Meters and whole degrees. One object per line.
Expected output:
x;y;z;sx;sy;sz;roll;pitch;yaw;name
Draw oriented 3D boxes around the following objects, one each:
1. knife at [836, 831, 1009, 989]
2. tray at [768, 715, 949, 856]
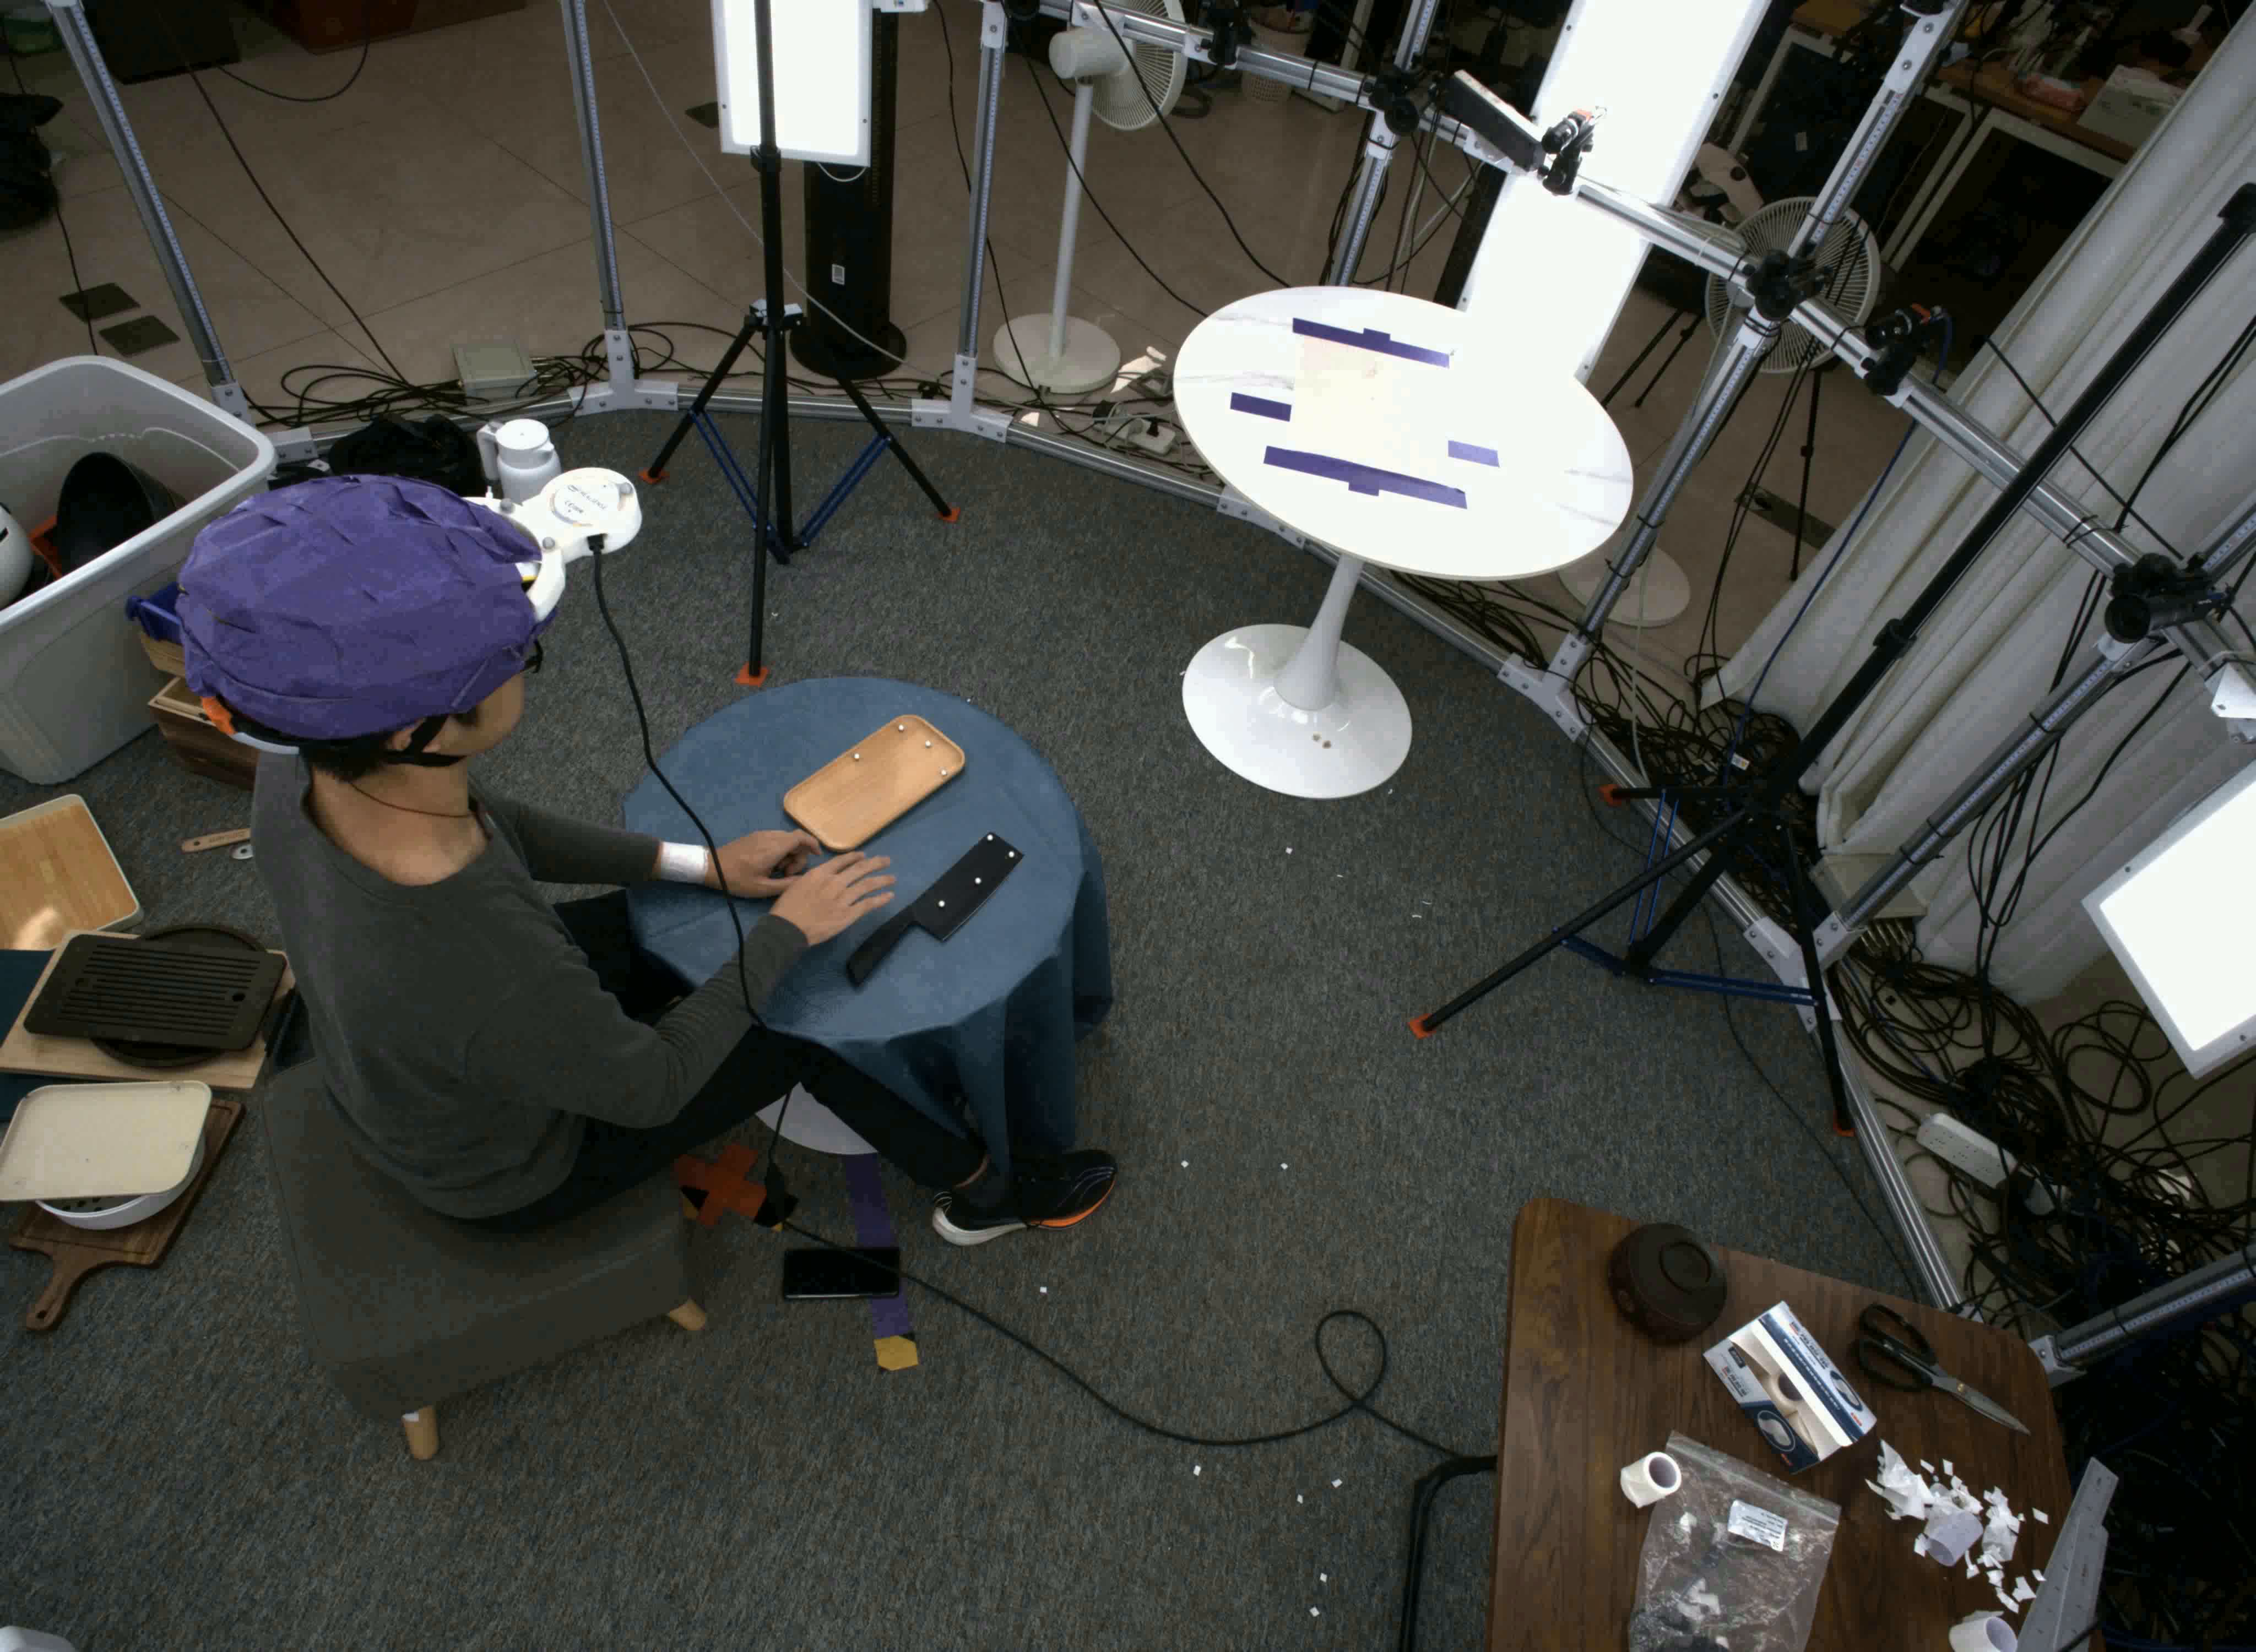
-0.266;0.107;1.688;0.079;0.021;0.302;38;52;13;knife
-0.367;-0.059;1.783;0.127;0.023;0.251;37;55;17;tray
